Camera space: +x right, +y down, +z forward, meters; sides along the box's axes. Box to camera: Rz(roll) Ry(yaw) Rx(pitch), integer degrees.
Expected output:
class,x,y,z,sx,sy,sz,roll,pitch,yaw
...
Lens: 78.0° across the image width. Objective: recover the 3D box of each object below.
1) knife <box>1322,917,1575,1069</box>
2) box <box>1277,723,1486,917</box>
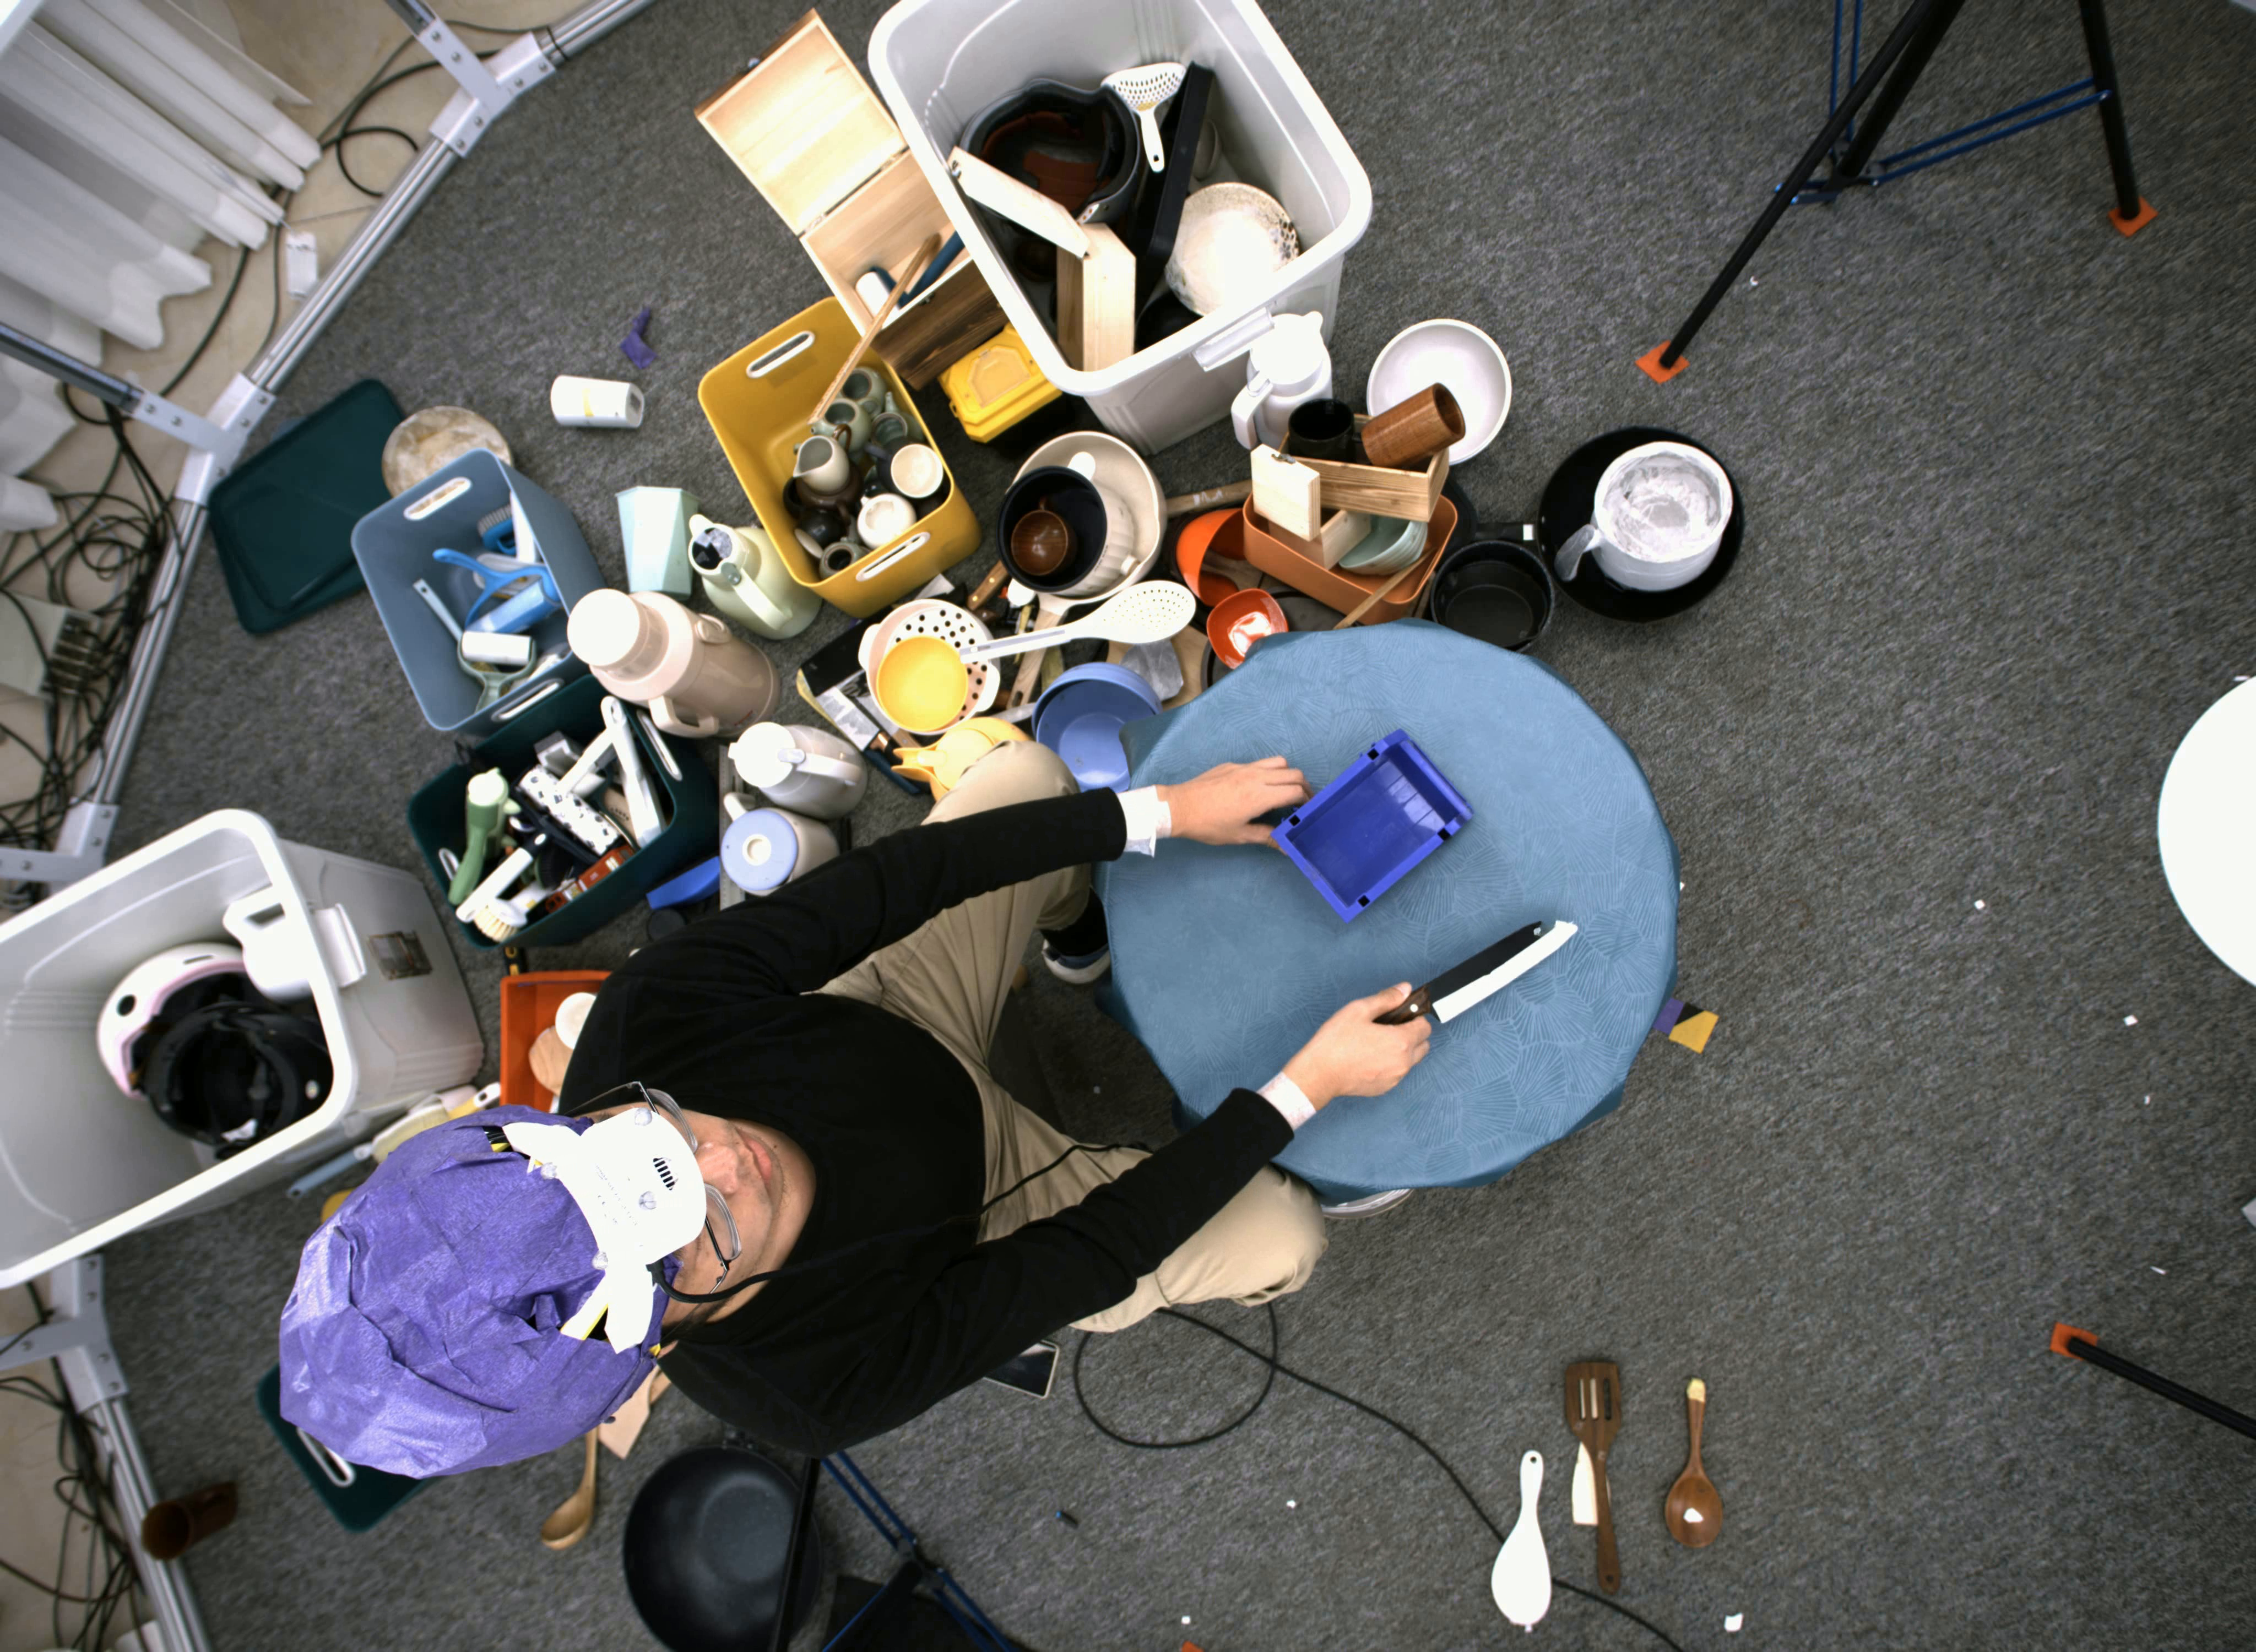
class,x,y,z,sx,sy,sz,roll,pitch,yaw
knife,0.325,0.165,1.389,0.289,0.020,0.050,-29,101,2
box,0.262,-0.010,1.425,0.180,0.082,0.124,-40,80,8
